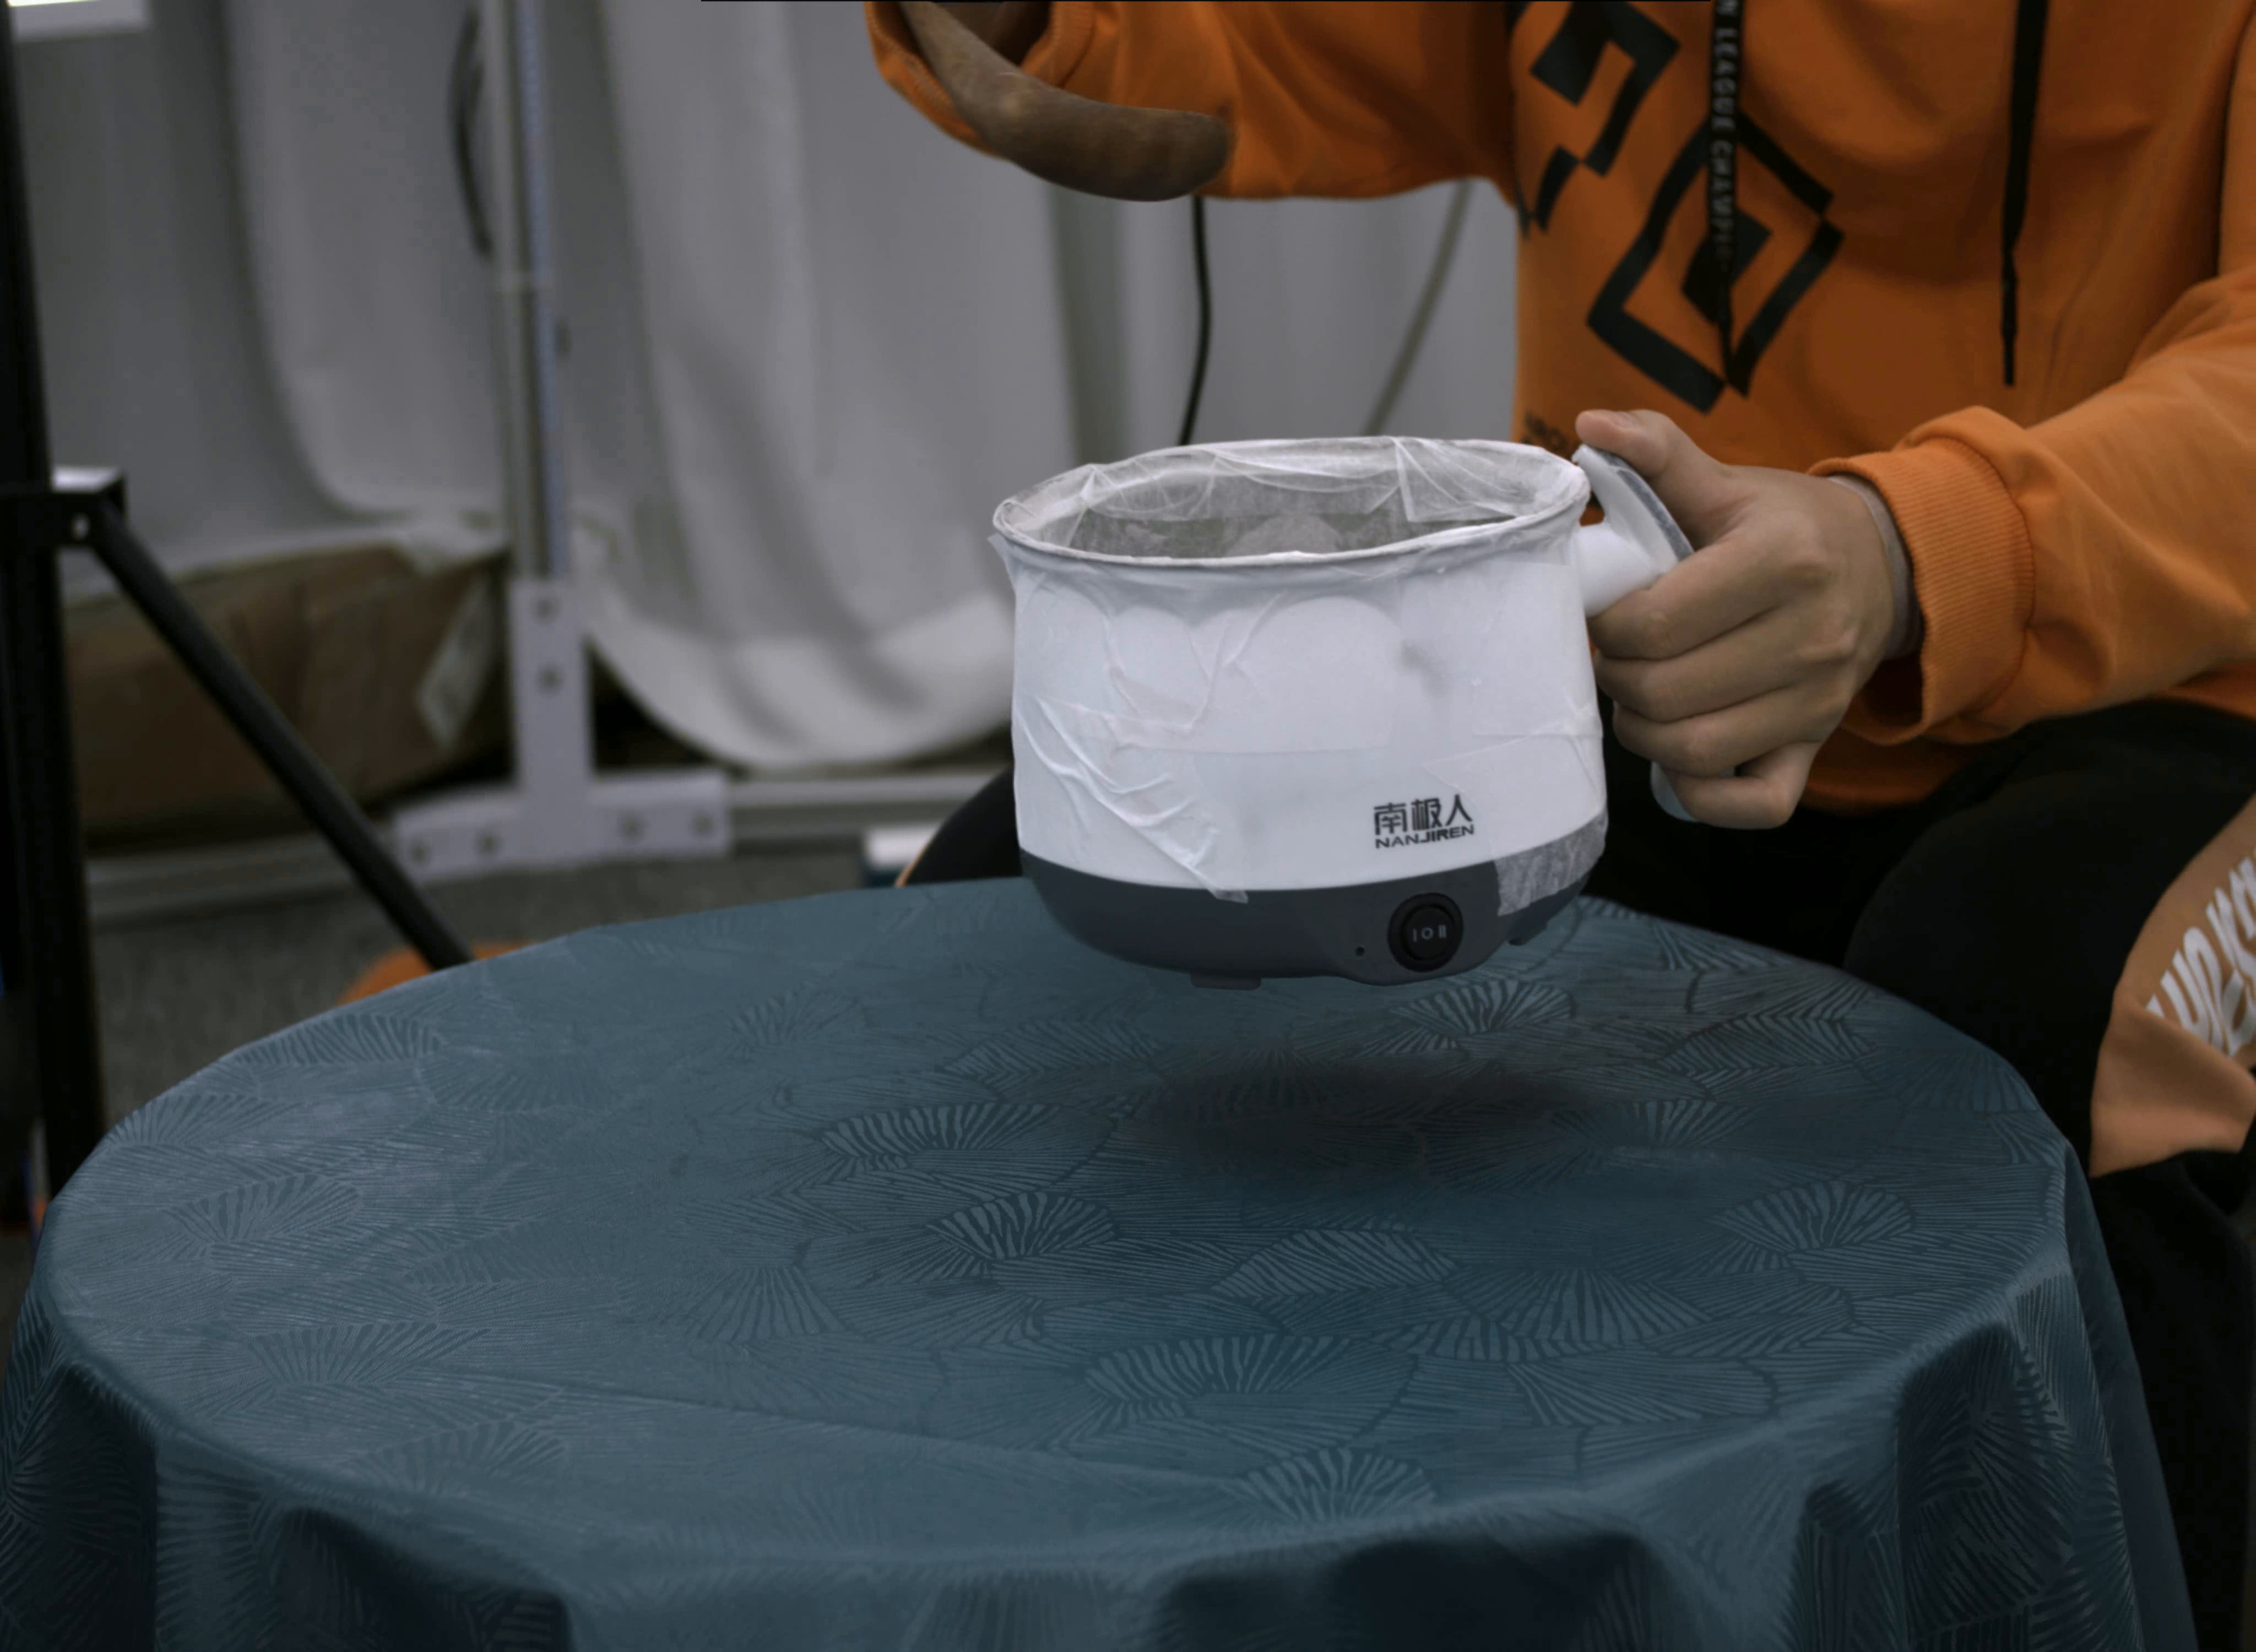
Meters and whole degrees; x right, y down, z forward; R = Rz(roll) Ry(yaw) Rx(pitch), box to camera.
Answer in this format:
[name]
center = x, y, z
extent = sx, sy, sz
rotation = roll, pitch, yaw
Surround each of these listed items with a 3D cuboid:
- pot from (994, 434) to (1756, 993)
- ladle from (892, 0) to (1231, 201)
[pot]
center = 0.078, -0.040, 1.592
extent = 0.229, 0.136, 0.182
rotation = -9, 16, -19
[ladle]
center = -0.066, -0.281, 1.593
extent = 0.065, 0.263, 0.075
rotation = -42, -15, 16
